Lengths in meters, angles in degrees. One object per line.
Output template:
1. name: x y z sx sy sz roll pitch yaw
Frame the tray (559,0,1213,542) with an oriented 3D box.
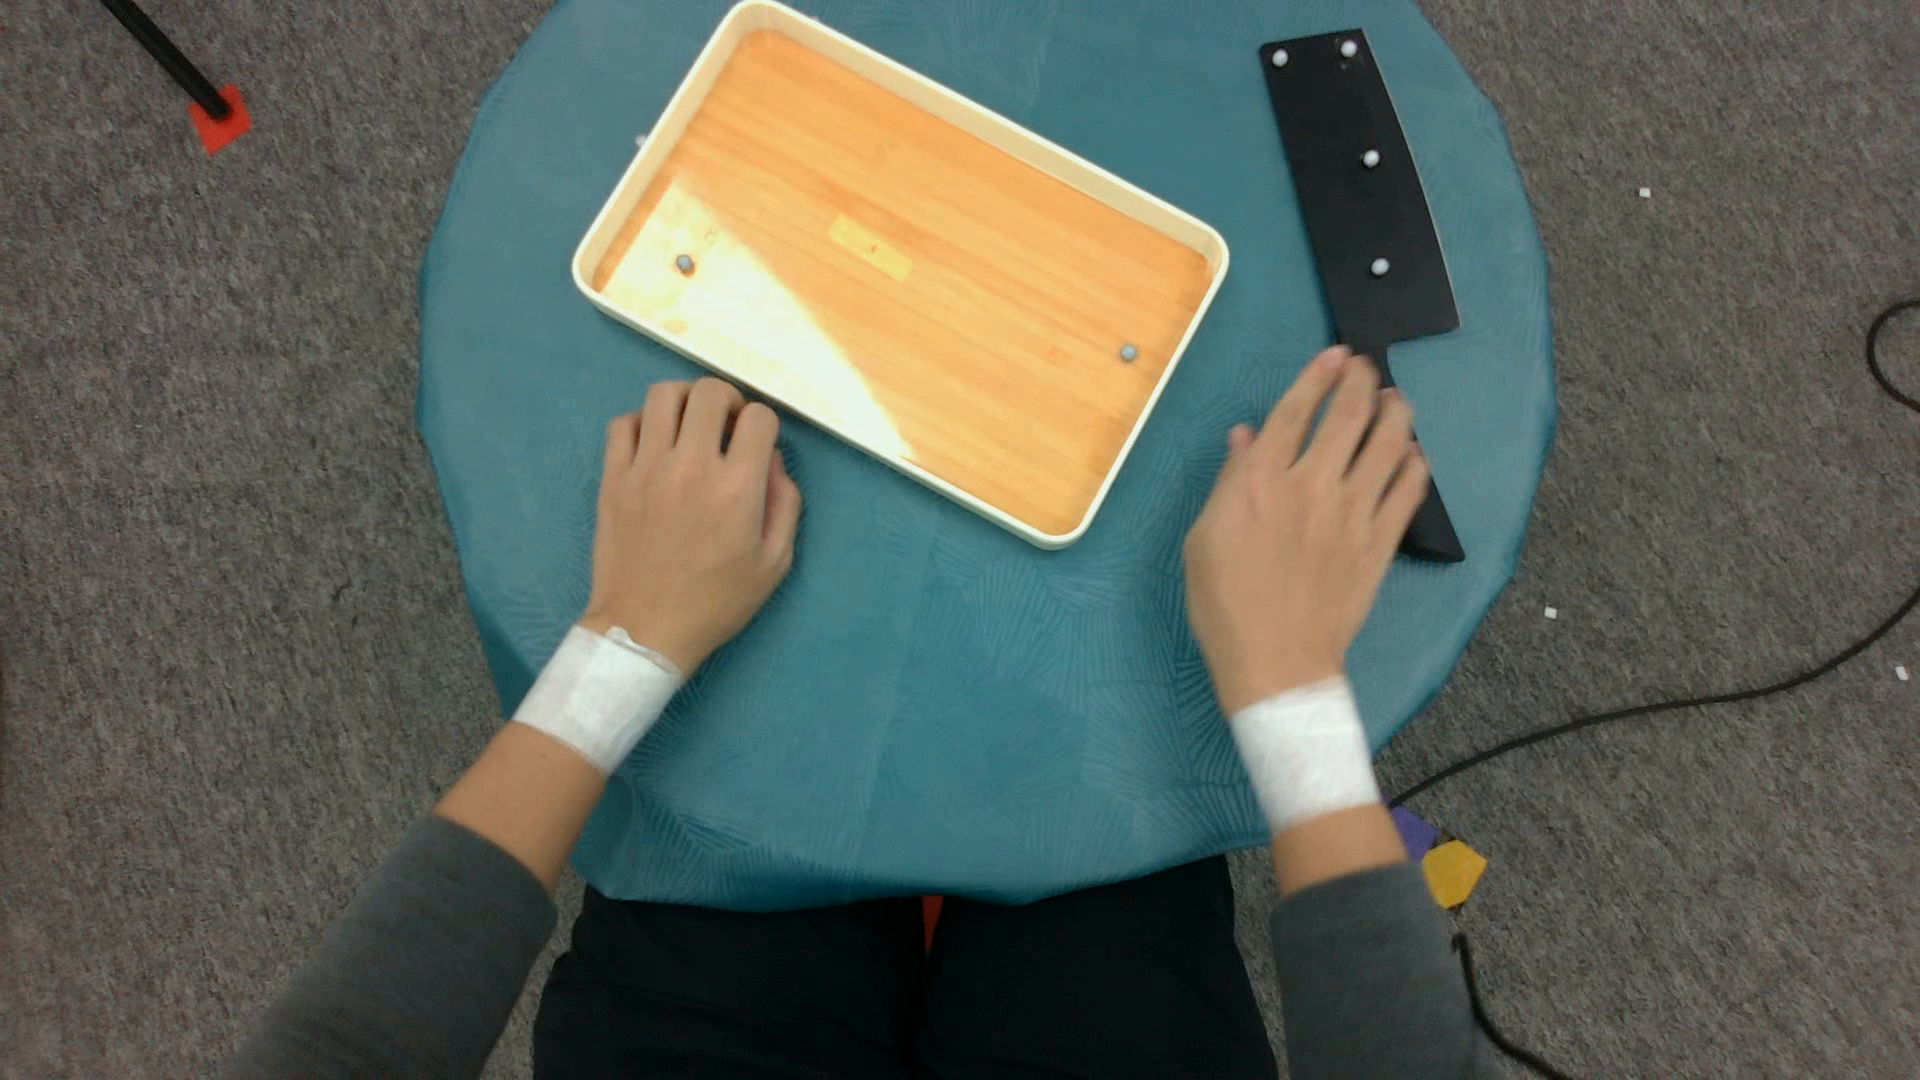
1. tray: -0.038 -0.145 0.724 0.300 0.027 0.192 28 79 5

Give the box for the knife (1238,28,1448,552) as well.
1. knife: 0.213 -0.139 0.735 0.081 0.021 0.303 -7 77 -4
